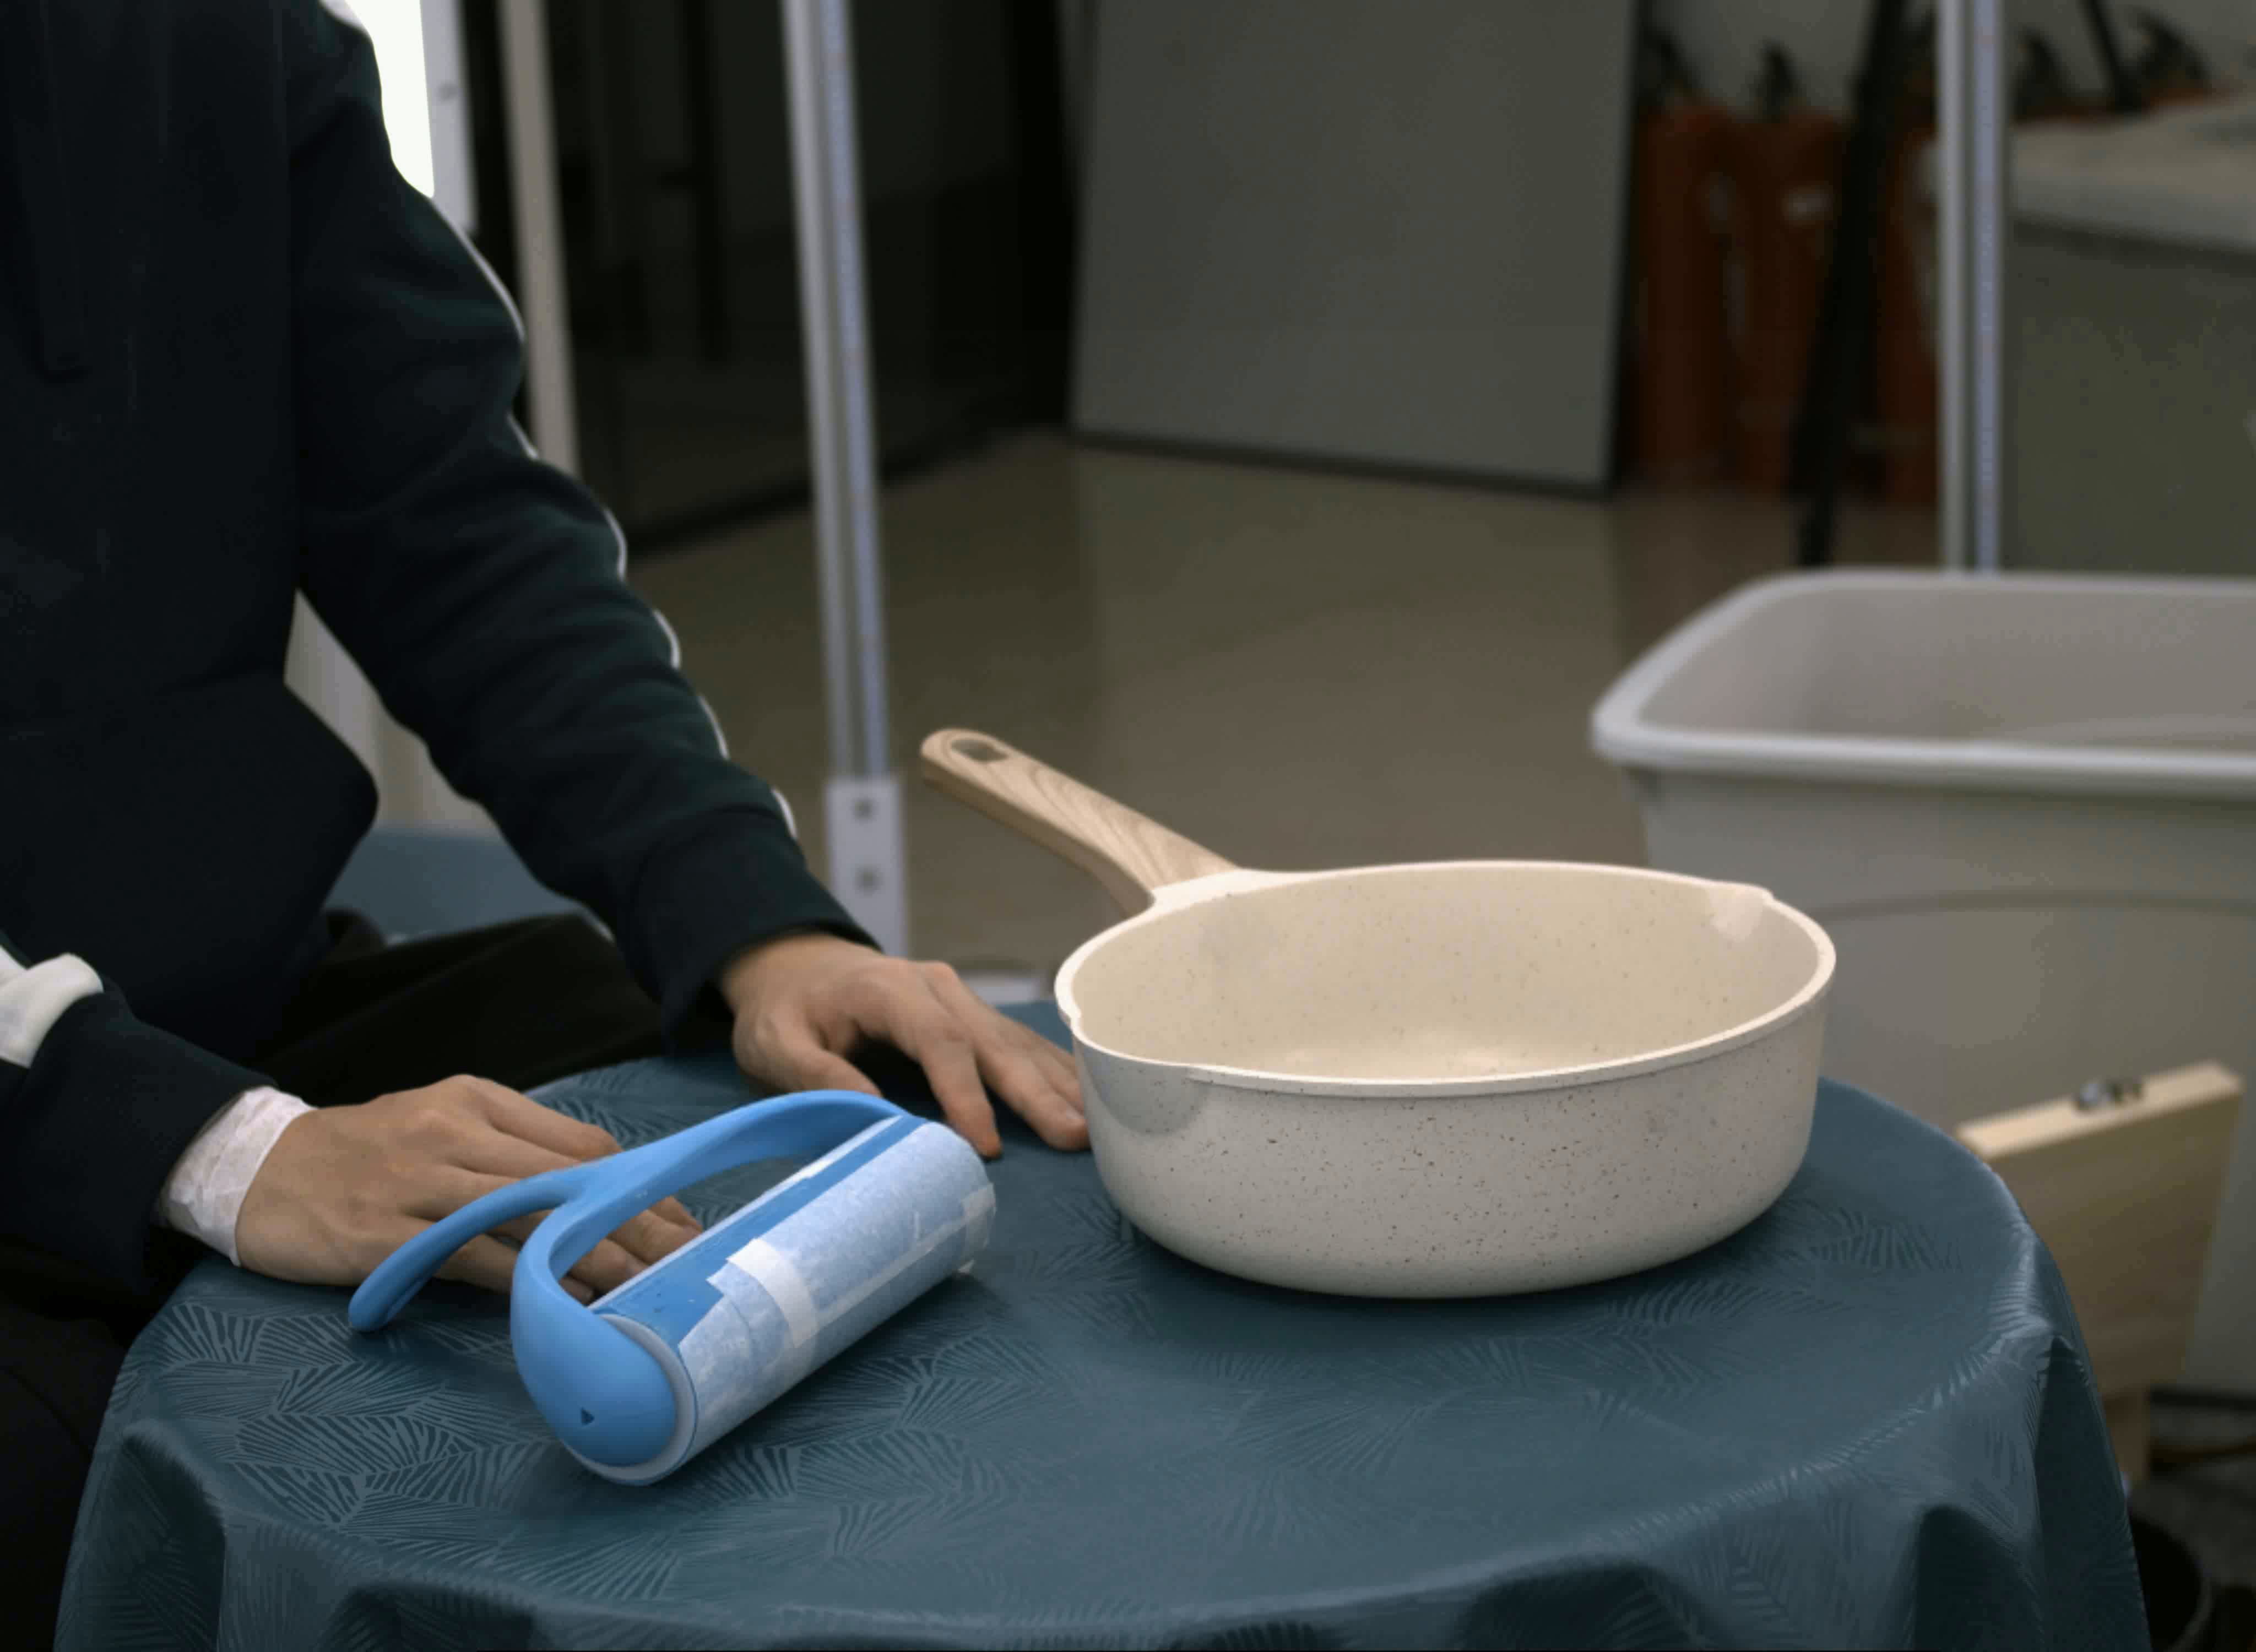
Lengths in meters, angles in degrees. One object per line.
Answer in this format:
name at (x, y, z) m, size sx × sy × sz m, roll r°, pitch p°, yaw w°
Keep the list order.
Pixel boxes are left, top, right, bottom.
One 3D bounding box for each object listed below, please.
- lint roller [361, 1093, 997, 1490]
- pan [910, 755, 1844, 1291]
lint roller at (-0.157, 0.136, 1.640) m, size 0.180 × 0.068 × 0.226 m, roll 3°, pitch 17°, yaw 23°
pan at (0.055, 0.058, 1.801) m, size 0.258 × 0.103 × 0.439 m, roll -14°, pitch 17°, yaw -31°
